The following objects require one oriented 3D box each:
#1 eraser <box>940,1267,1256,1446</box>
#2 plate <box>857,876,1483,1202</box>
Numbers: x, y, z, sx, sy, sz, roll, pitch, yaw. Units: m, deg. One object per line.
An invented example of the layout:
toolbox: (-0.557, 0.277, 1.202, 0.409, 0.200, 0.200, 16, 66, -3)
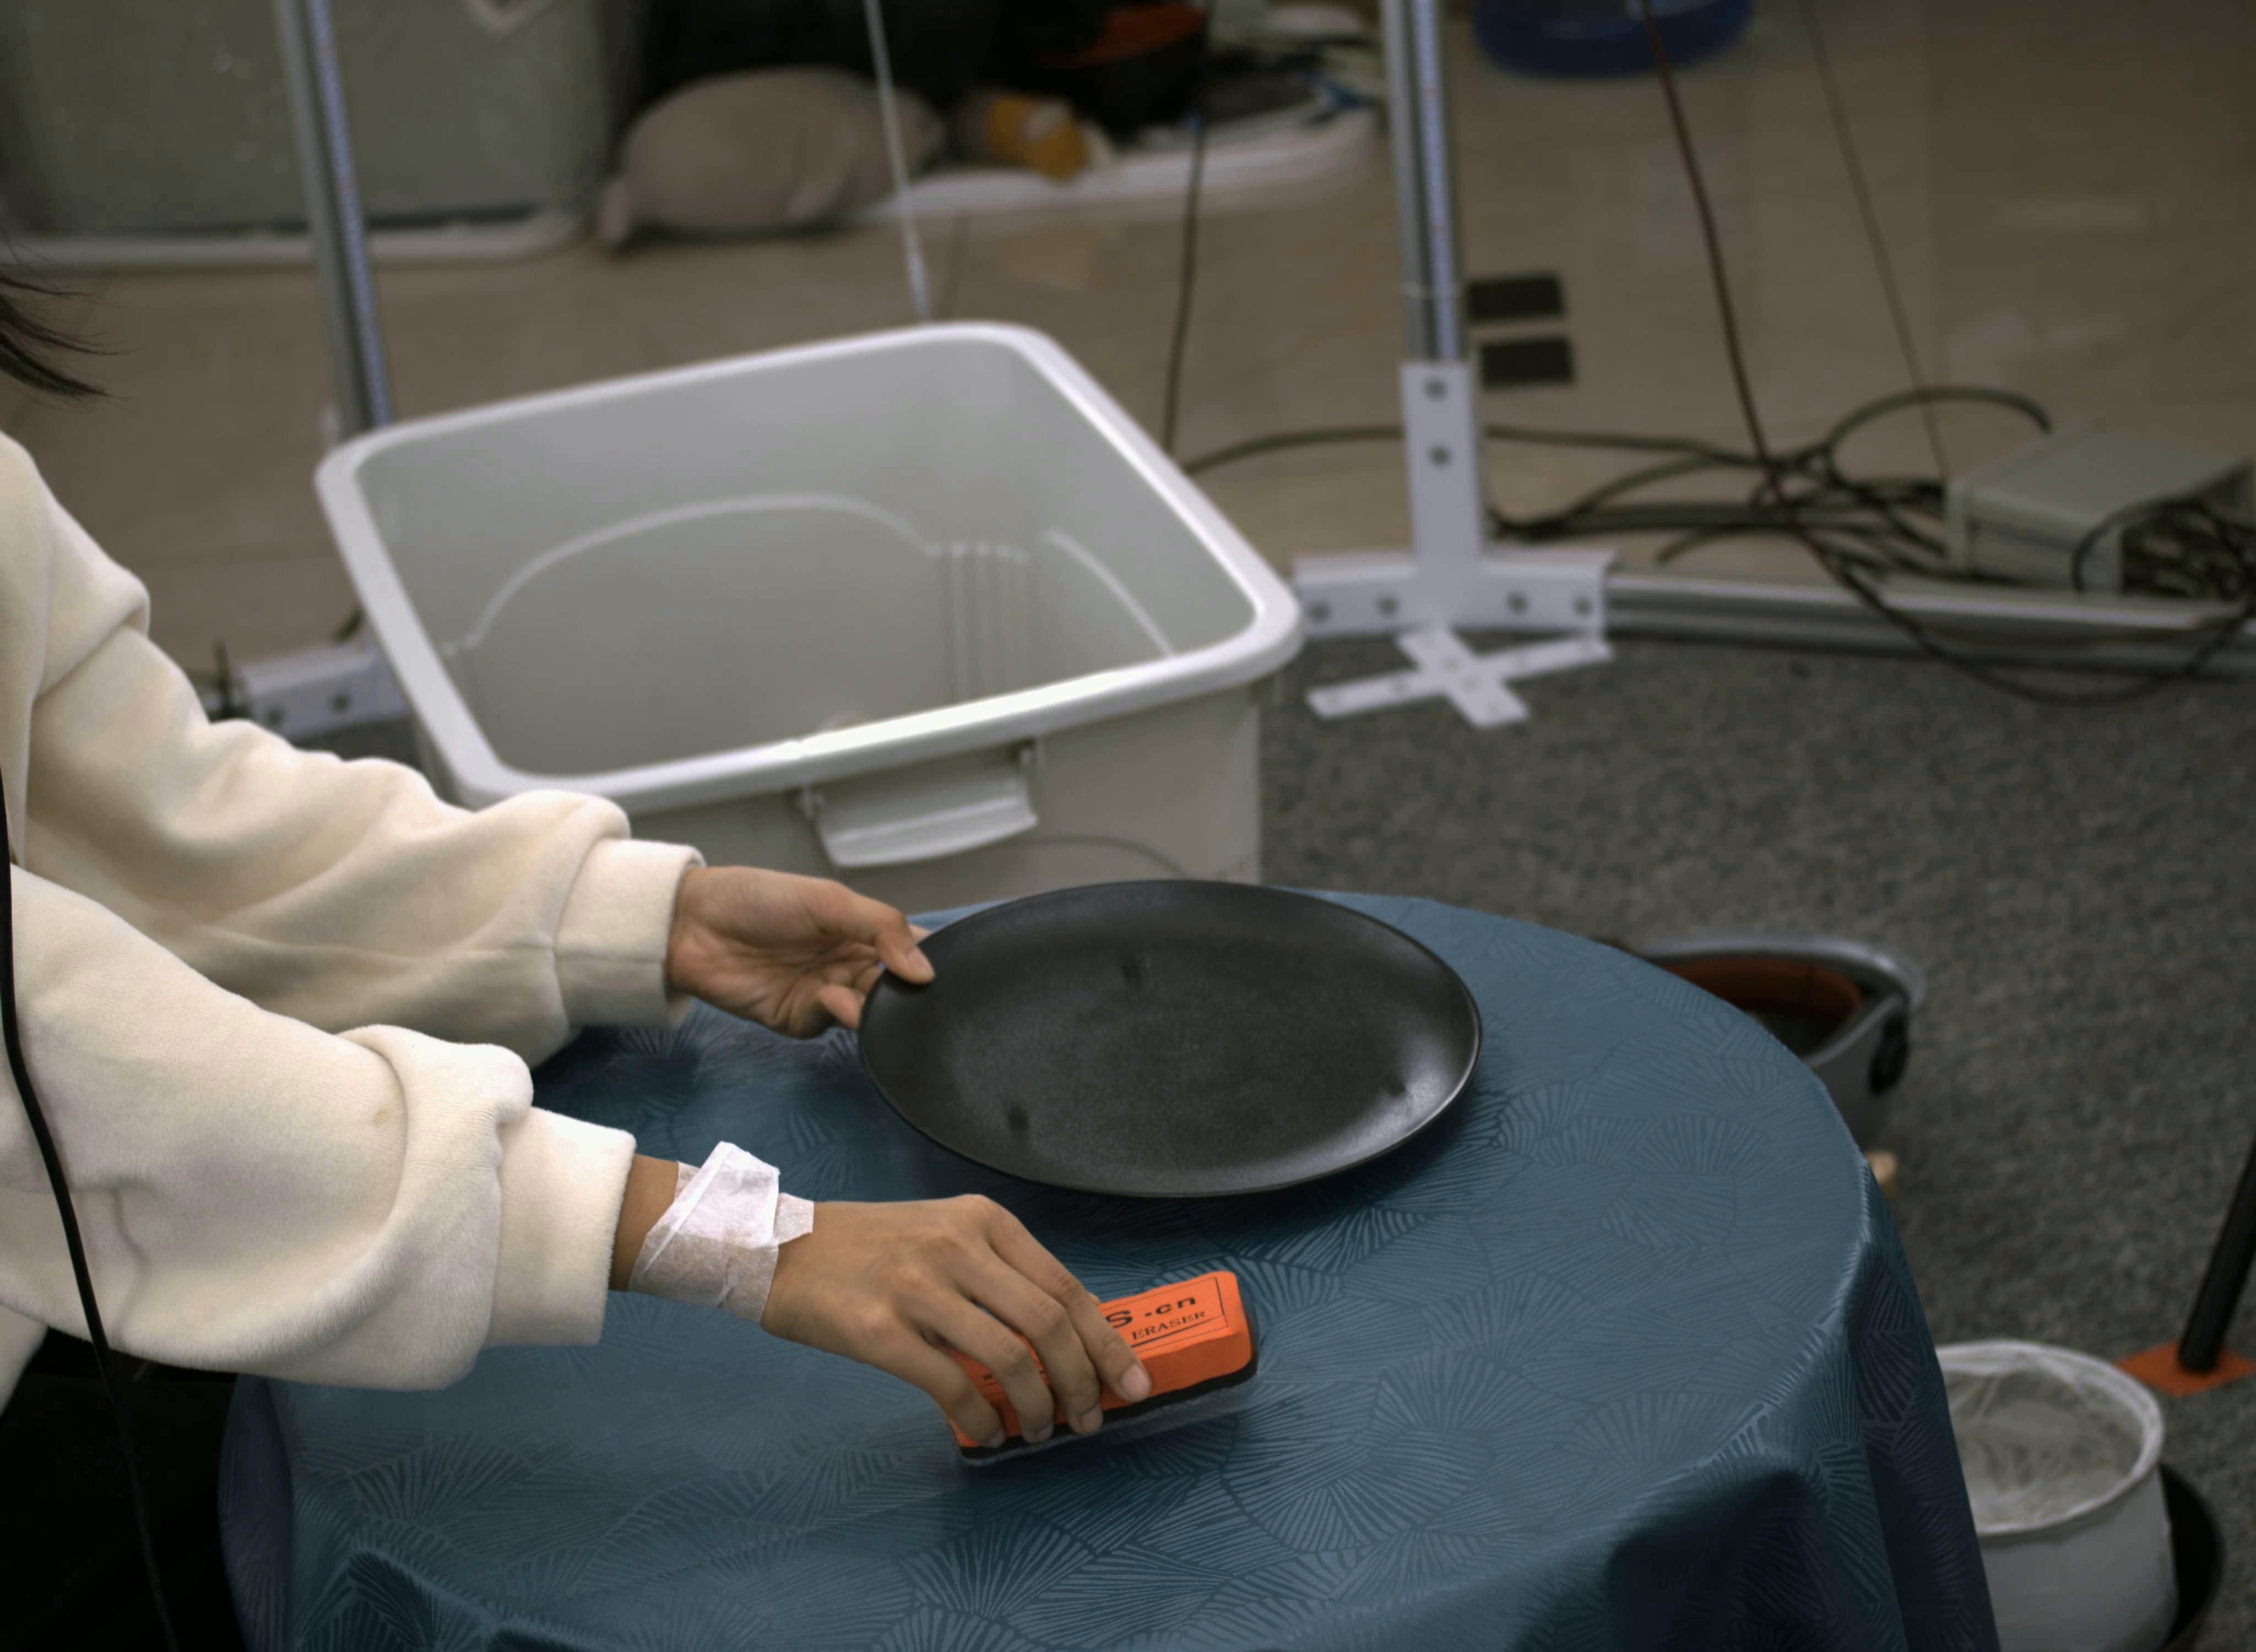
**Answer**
eraser: (-0.011, 0.185, 1.983, 0.108, 0.023, 0.058, -13, 20, 2)
plate: (0.016, 0.087, 2.201, 0.244, 0.024, 0.240, 0, 29, 0)
